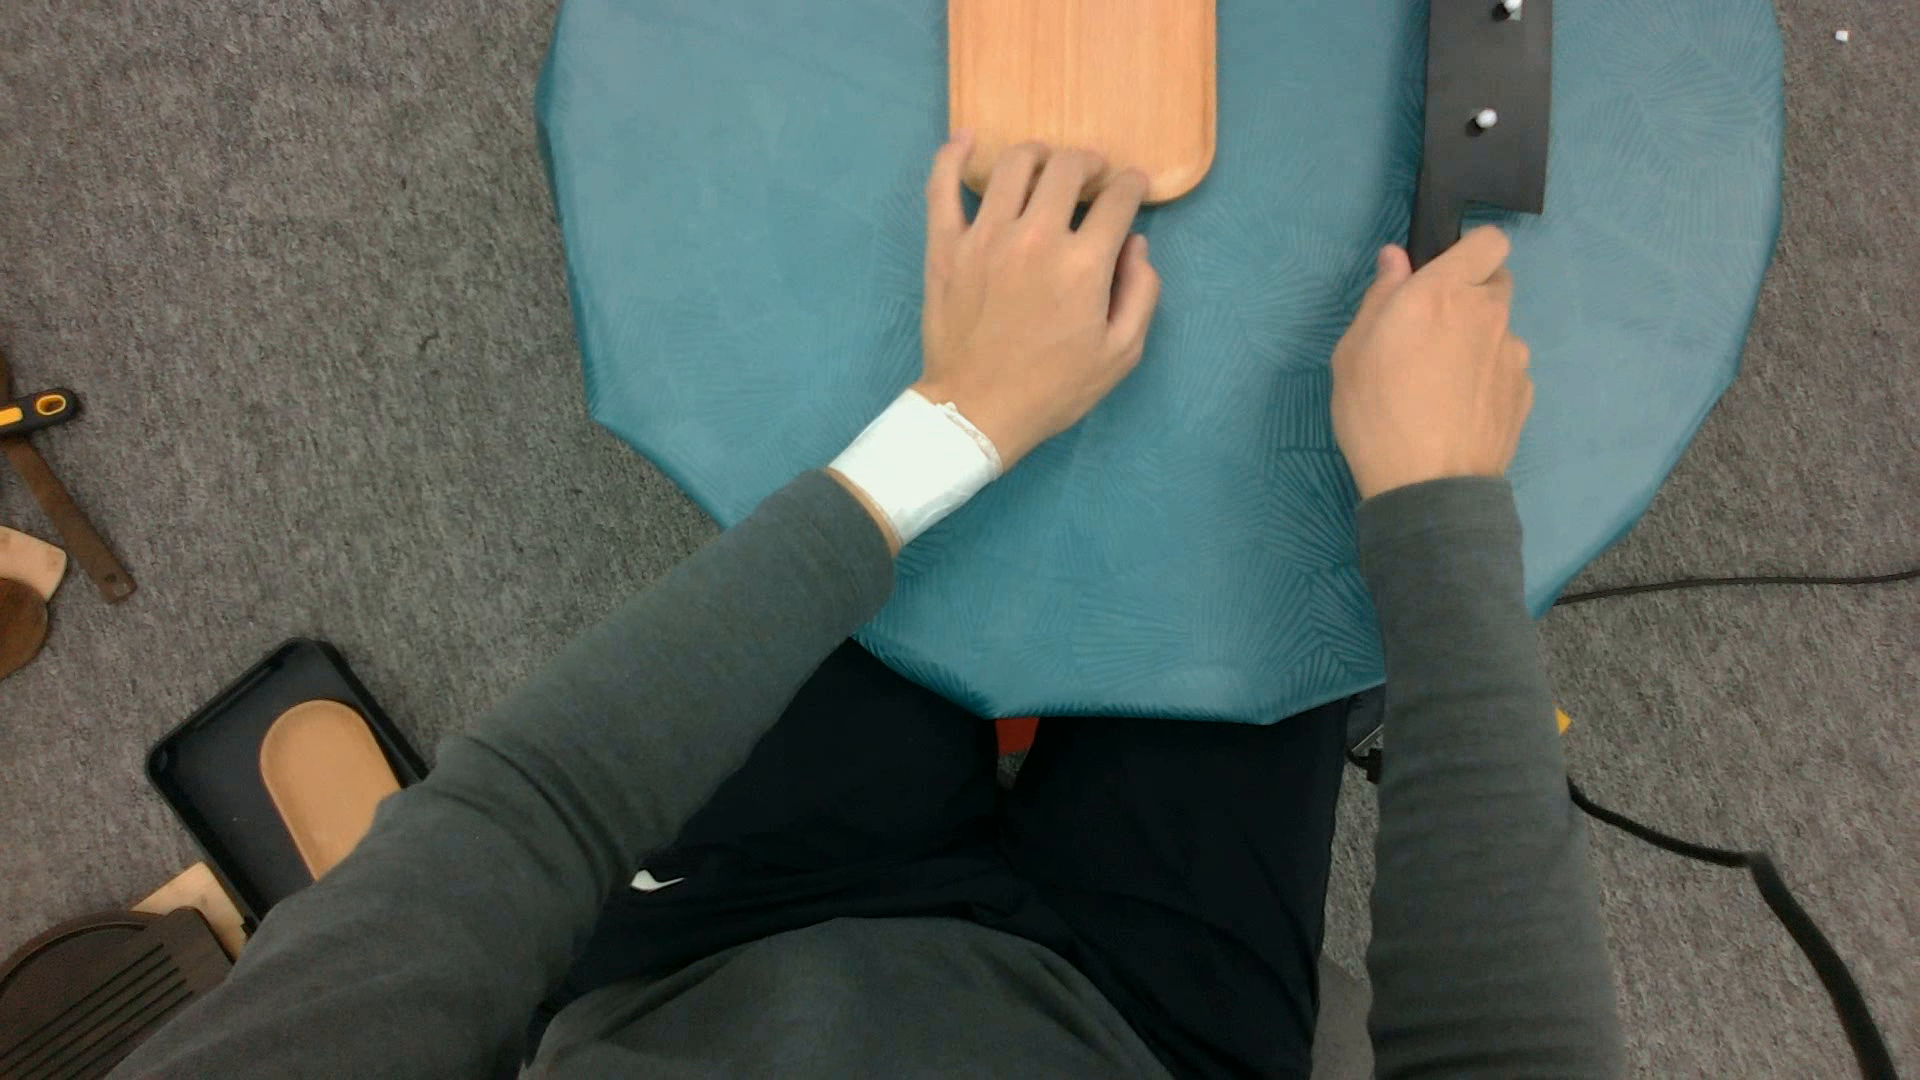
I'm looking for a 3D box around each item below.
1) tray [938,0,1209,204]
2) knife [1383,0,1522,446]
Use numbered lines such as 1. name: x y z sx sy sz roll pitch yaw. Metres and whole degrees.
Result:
1. tray: 0.054 -0.286 0.670 0.130 0.023 0.251 -1 87 2
2. knife: 0.231 -0.191 0.644 0.081 0.021 0.303 13 78 -19
